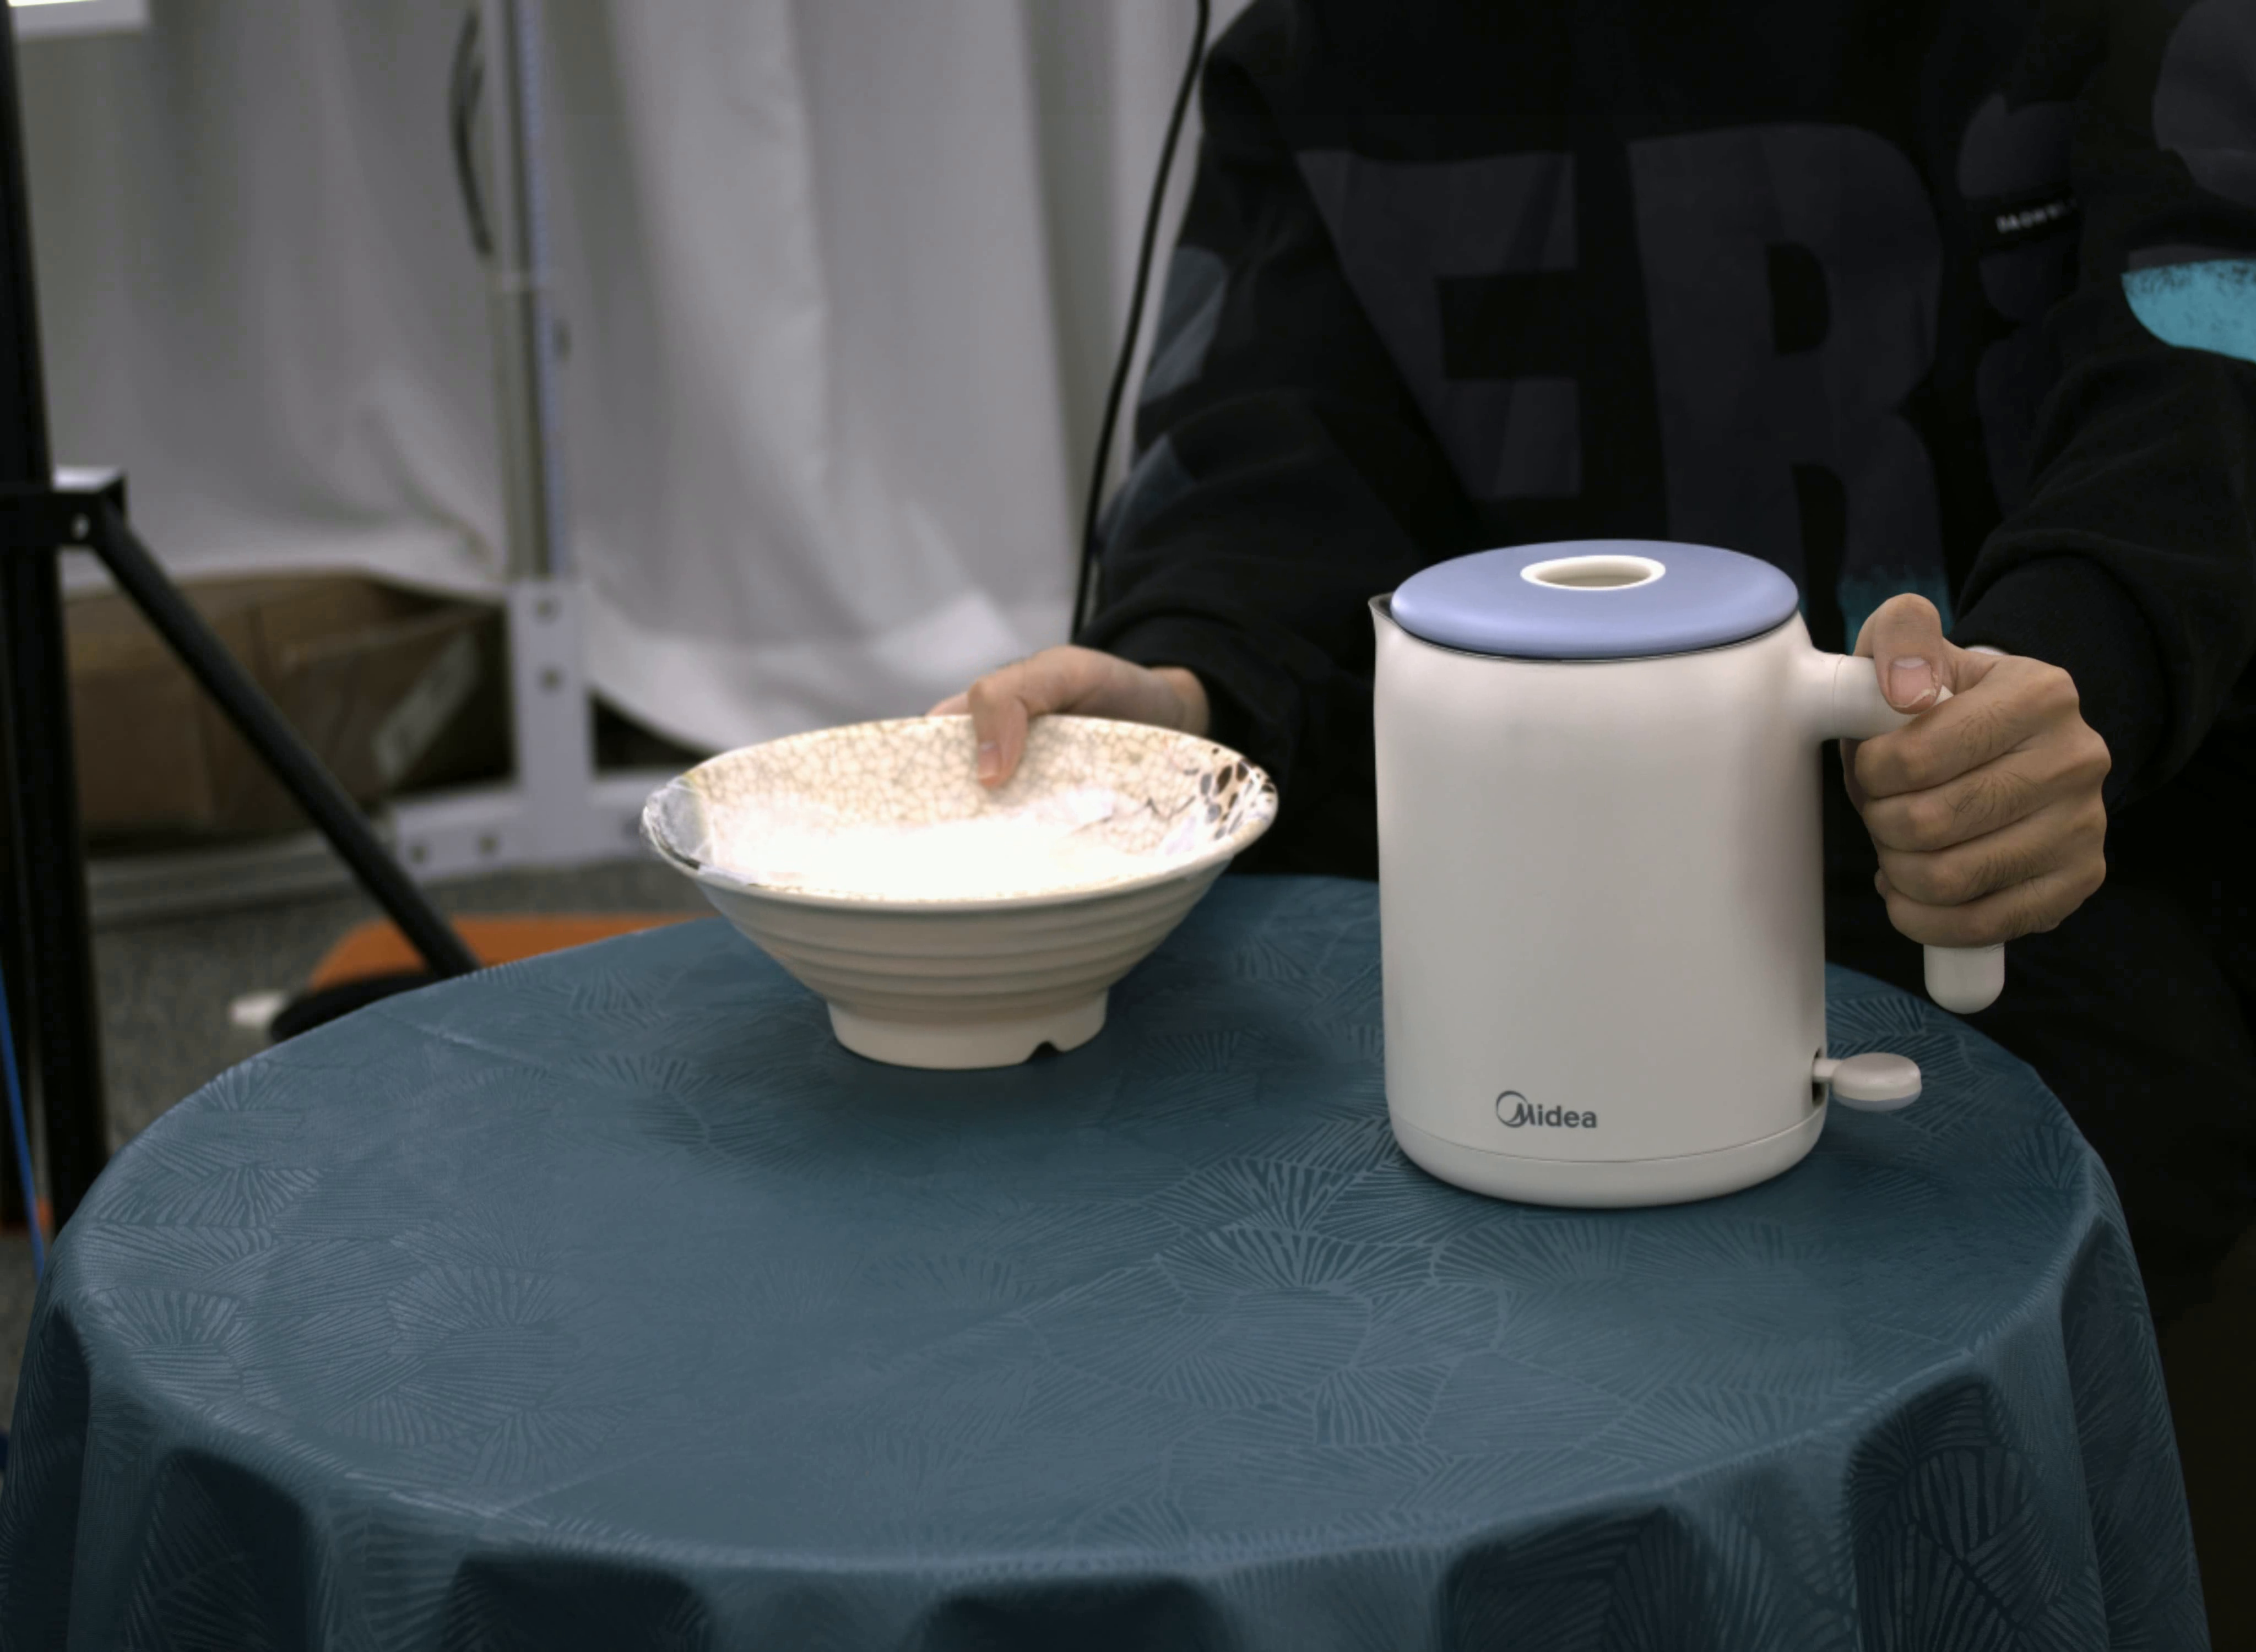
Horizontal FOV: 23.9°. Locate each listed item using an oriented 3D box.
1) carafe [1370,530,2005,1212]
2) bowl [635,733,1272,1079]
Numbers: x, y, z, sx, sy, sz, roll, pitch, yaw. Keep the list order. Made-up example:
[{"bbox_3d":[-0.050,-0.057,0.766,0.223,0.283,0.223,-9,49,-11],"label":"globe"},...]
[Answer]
[{"bbox_3d":[0.162,0.015,1.548,0.193,0.182,0.131,6,18,19],"label":"carafe"},{"bbox_3d":[-0.056,0.031,1.704,0.203,0.078,0.205,1,14,-2],"label":"bowl"}]
